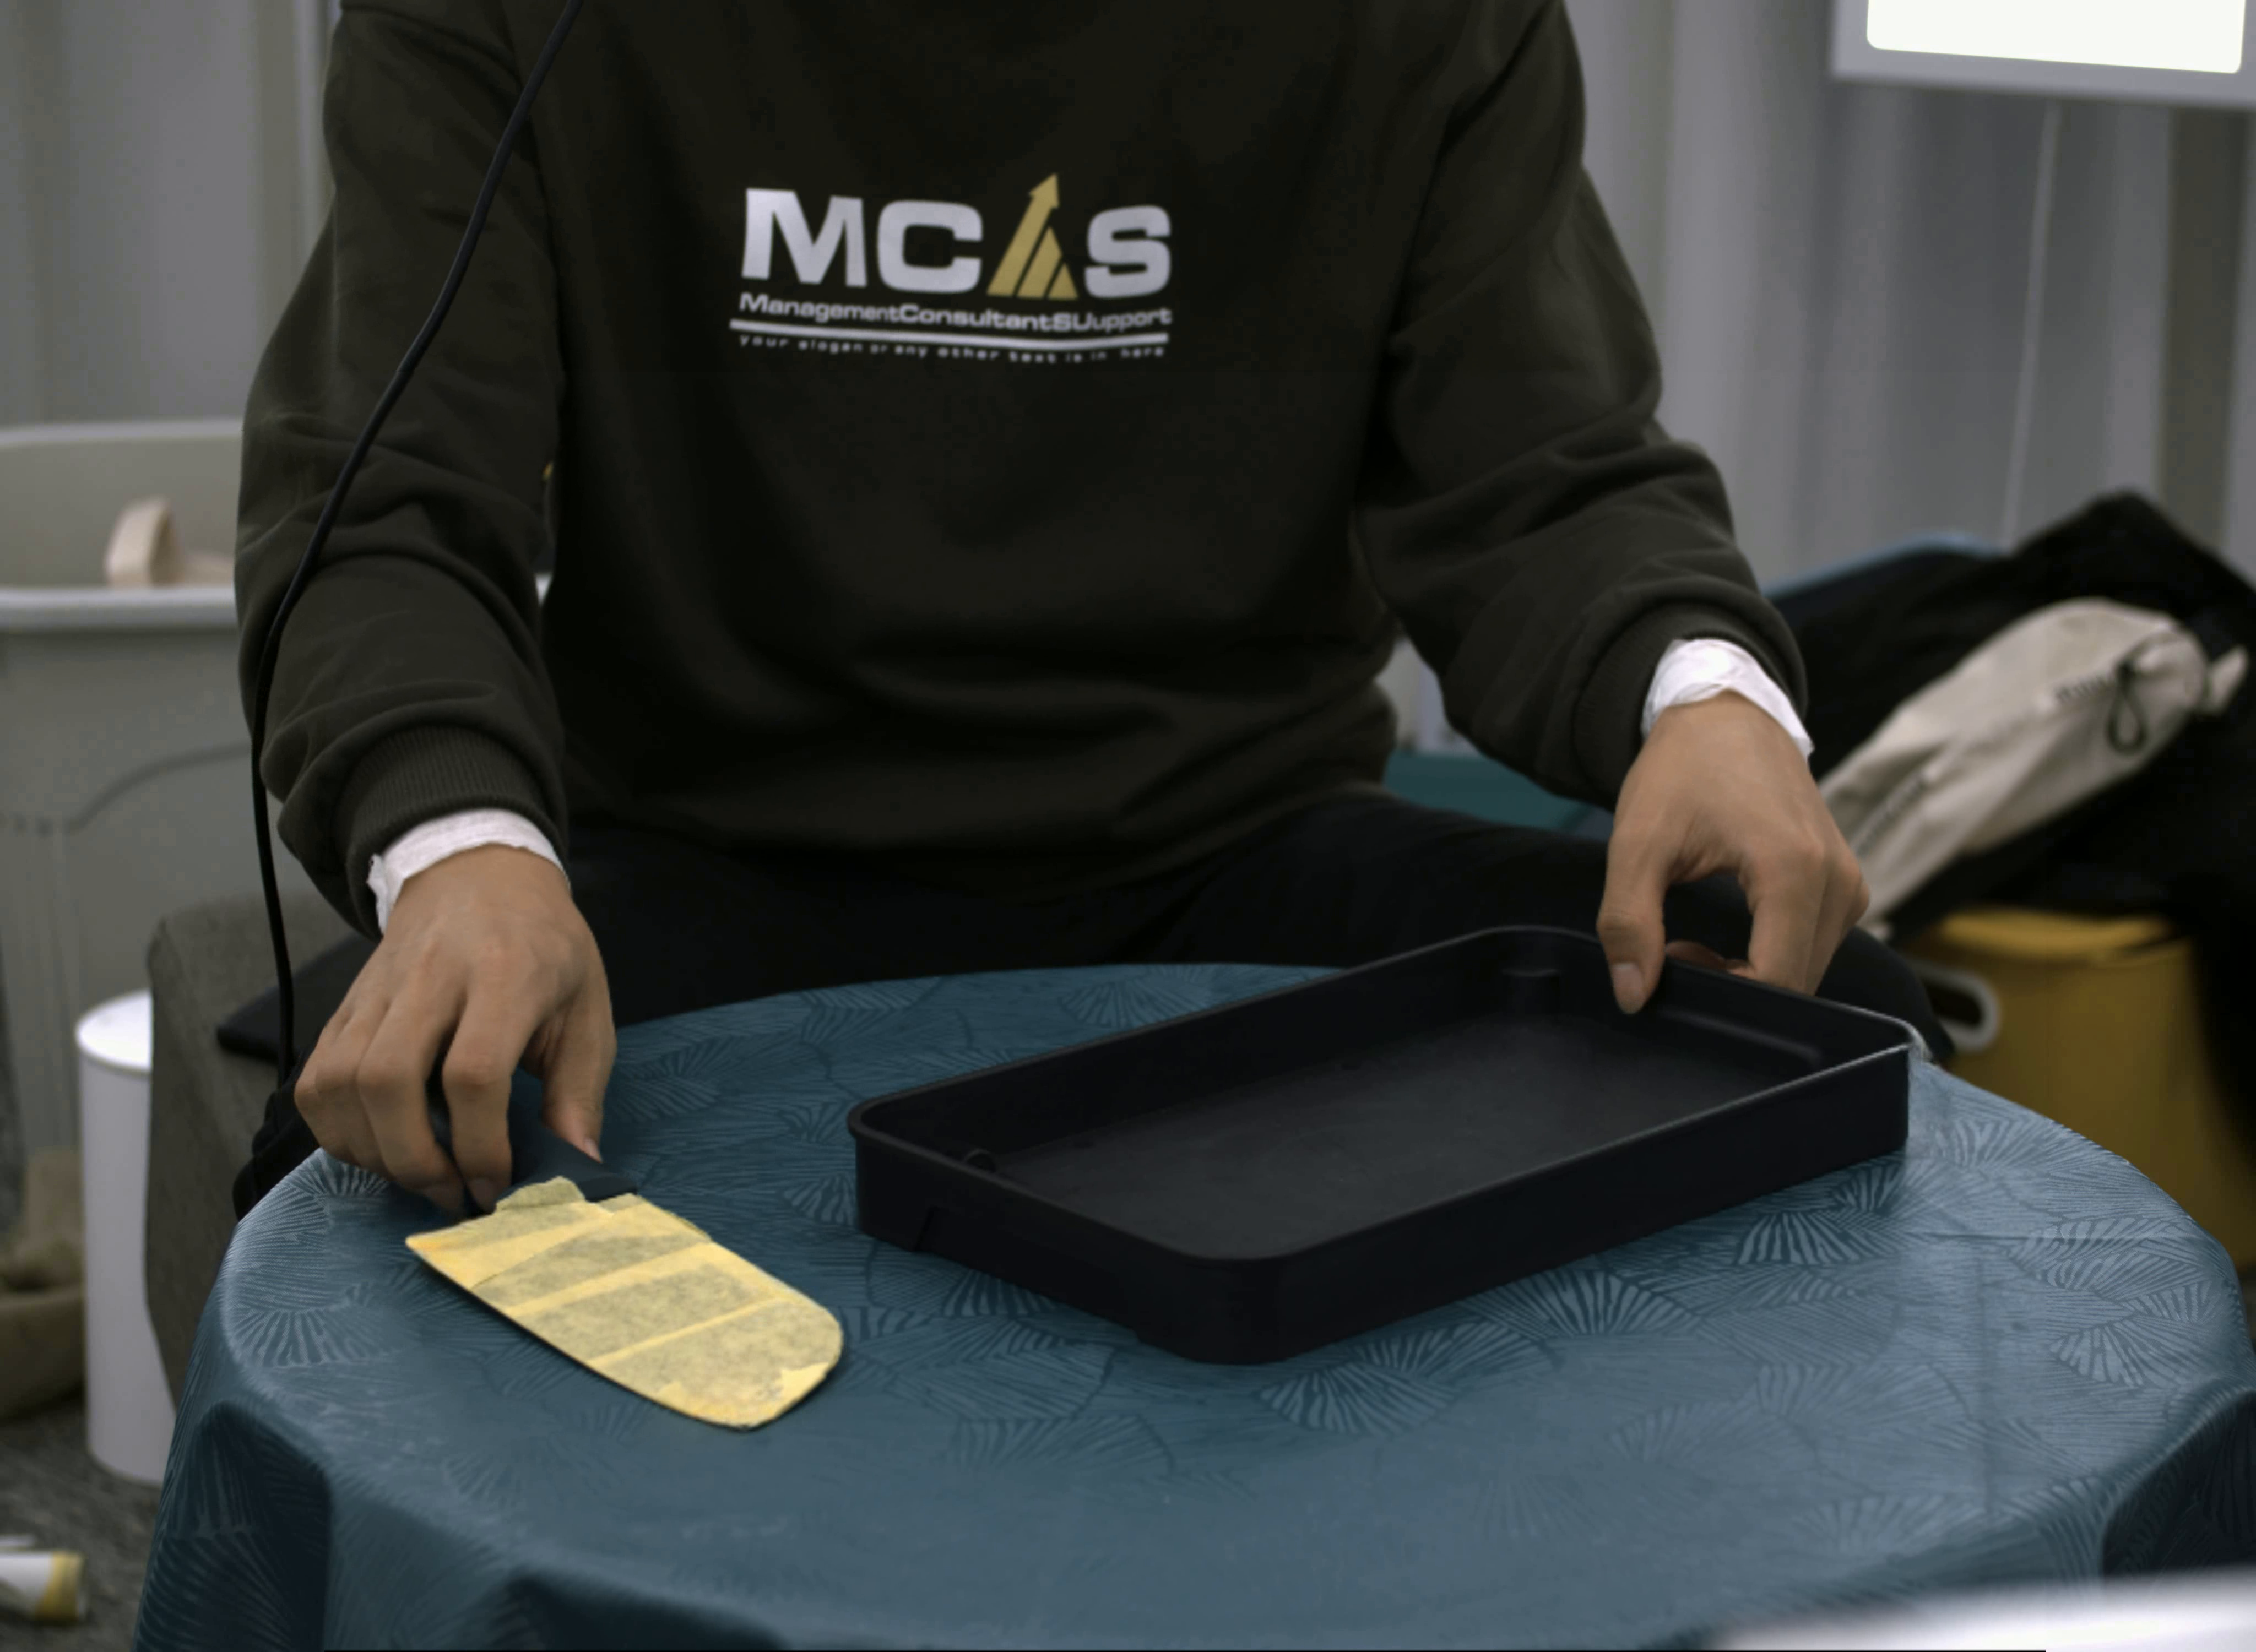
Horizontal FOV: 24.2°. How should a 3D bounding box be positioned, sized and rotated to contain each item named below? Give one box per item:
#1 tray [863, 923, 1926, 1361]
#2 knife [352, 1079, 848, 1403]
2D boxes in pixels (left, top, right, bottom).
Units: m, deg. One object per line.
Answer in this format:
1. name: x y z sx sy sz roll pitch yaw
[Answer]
1. tray: 0.087 0.092 1.636 0.319 0.037 0.182 -15 21 -43
2. knife: -0.169 0.123 1.554 0.081 0.027 0.285 -11 19 -31
